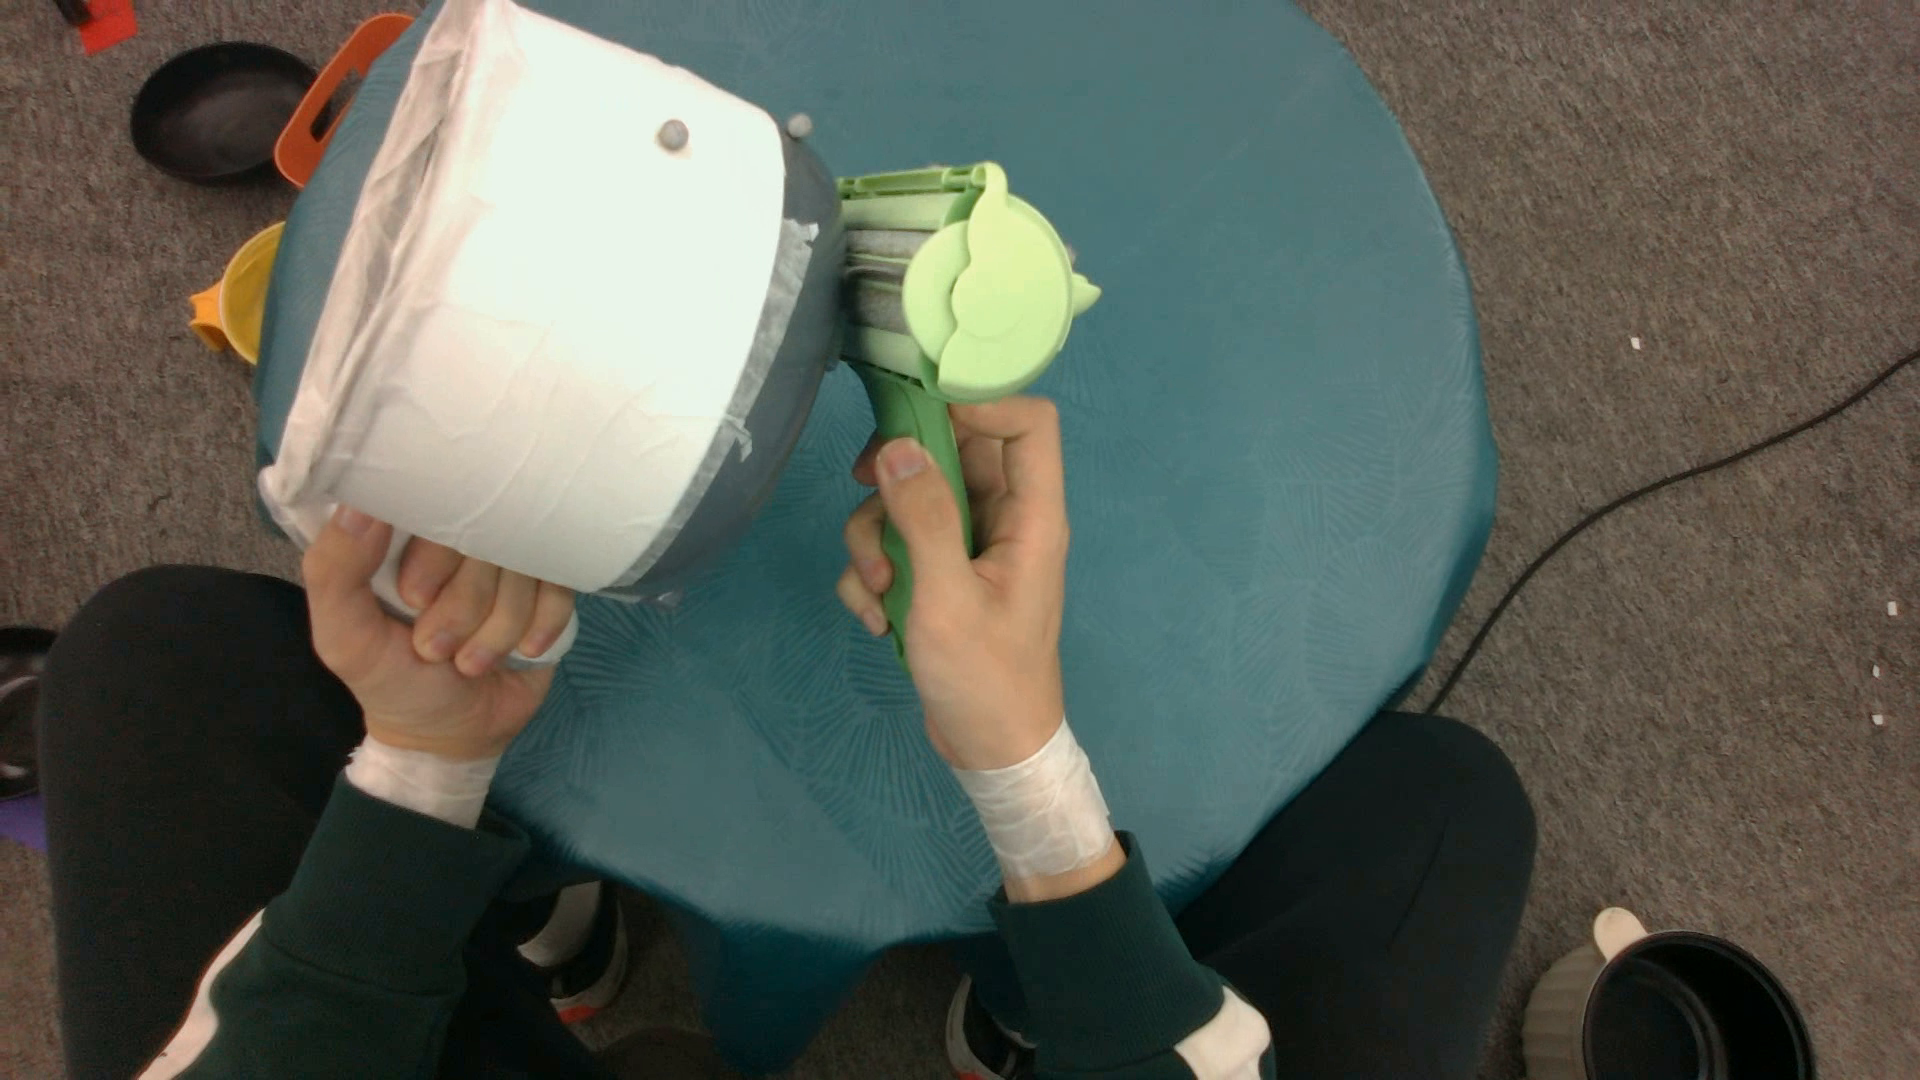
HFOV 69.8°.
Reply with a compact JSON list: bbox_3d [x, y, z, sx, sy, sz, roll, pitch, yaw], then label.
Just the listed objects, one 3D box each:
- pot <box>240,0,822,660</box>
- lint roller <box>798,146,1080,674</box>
[{"bbox_3d":[-0.153,-0.058,0.475,0.137,0.233,0.179,19,27,-30],"label":"pot"},{"bbox_3d":[-0.009,-0.045,0.497,0.082,0.198,0.183,-22,109,-17],"label":"lint roller"}]
